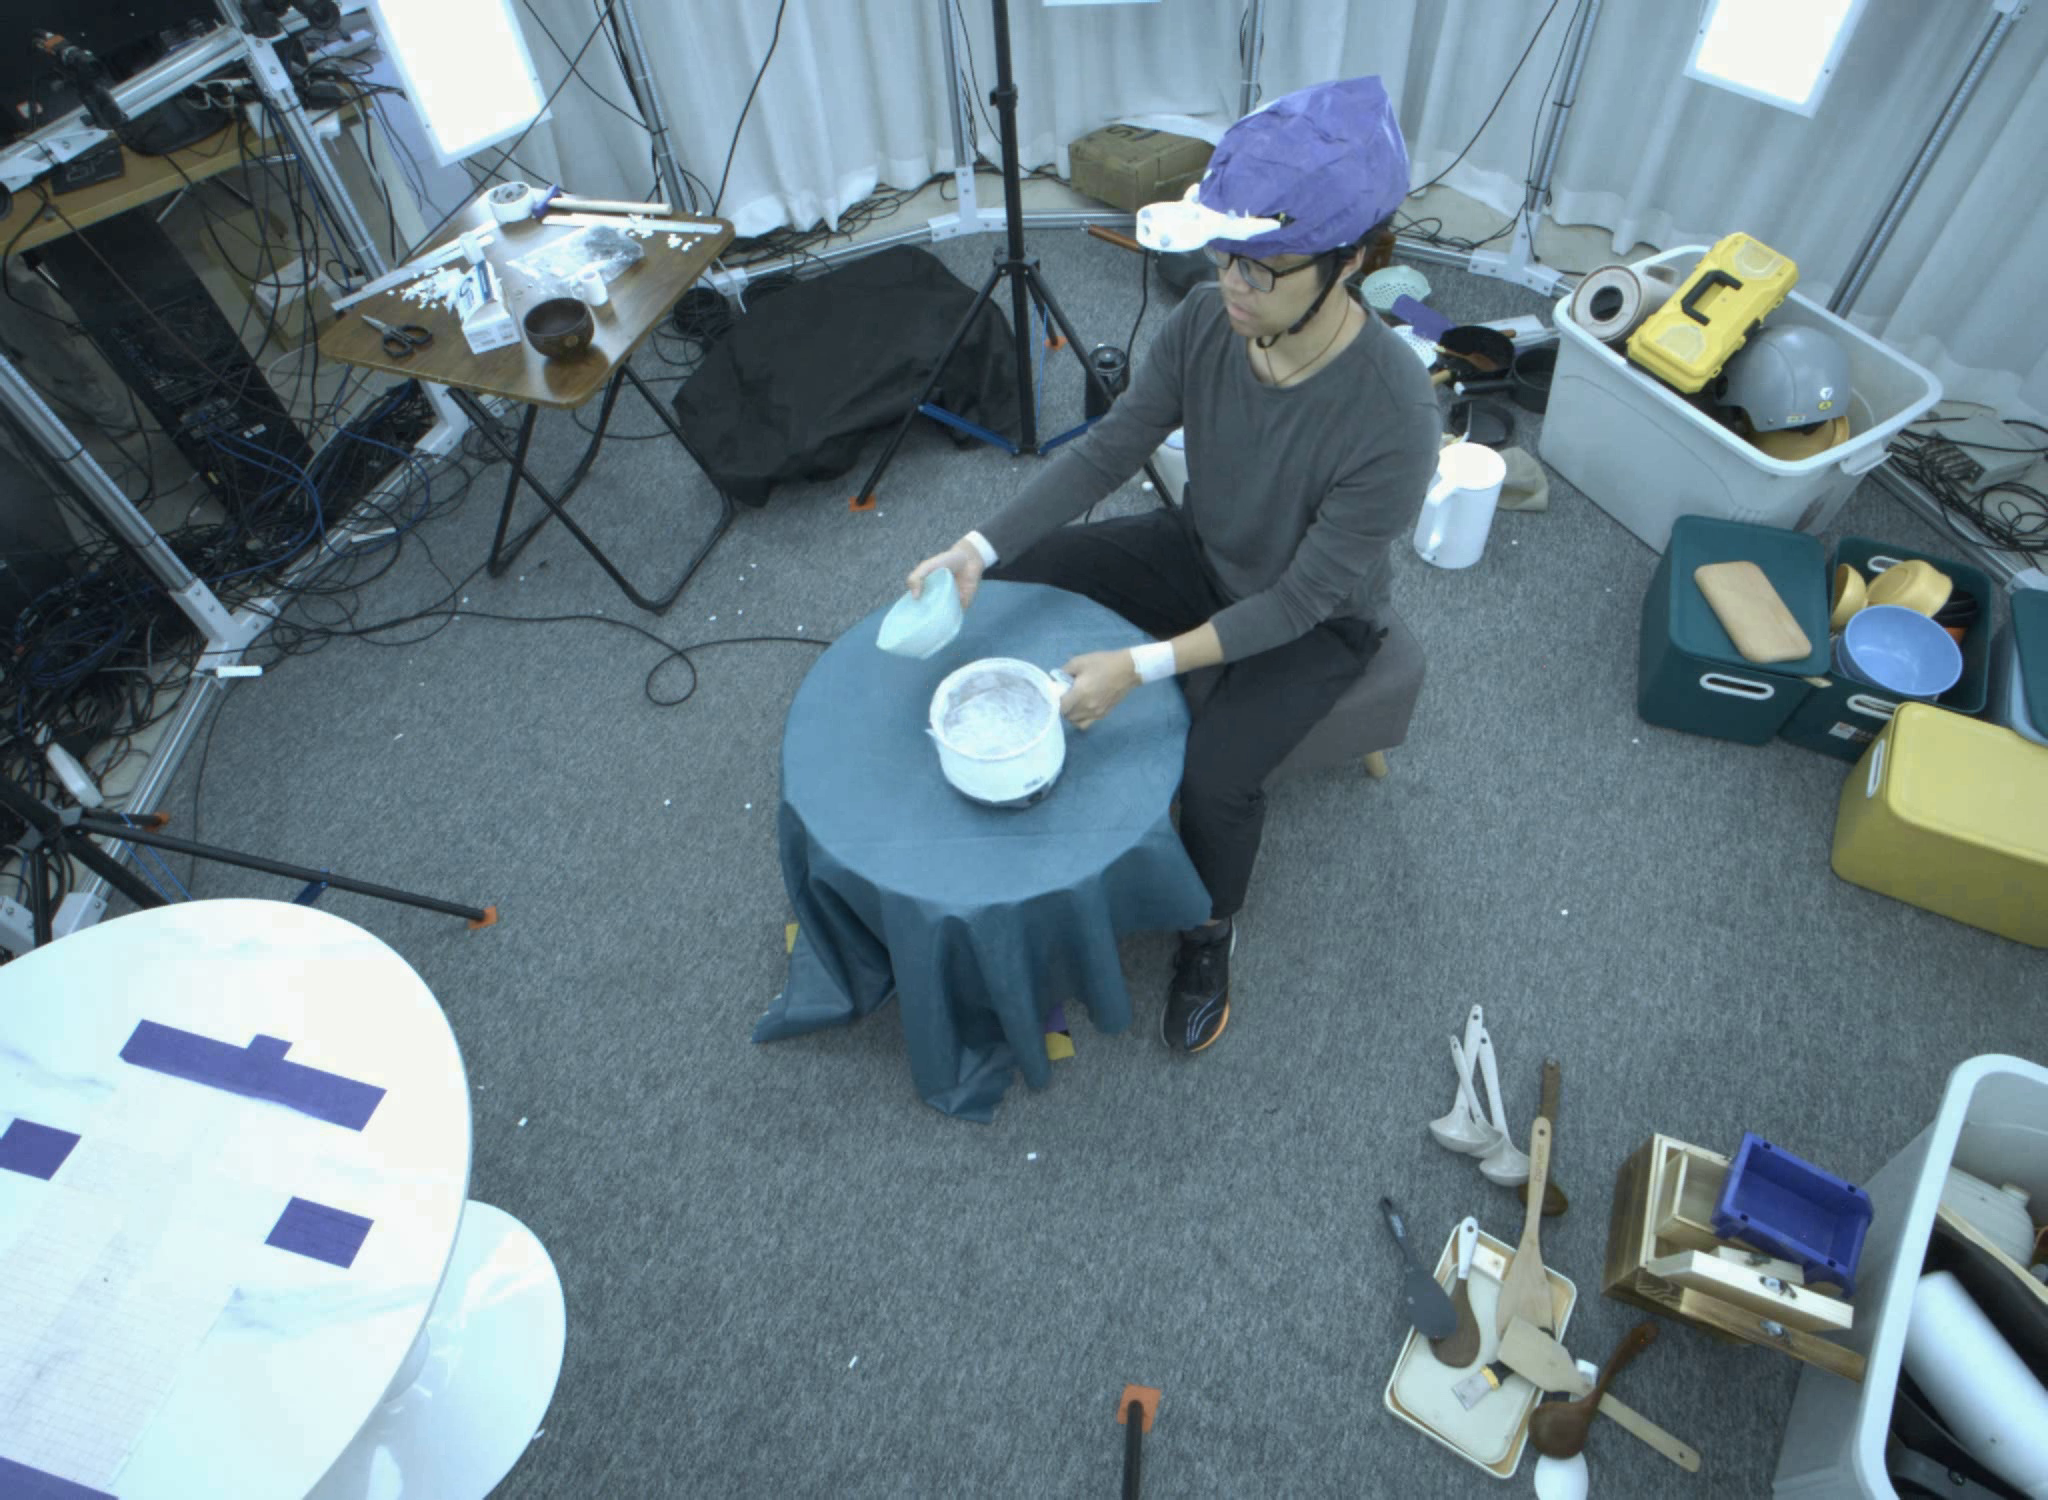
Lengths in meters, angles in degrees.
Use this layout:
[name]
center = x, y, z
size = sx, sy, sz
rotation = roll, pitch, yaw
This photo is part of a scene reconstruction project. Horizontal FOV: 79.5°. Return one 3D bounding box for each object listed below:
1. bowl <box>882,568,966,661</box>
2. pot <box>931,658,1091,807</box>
[bowl]
center = -0.133, -0.182, 1.738
size = 0.150, 0.060, 0.150
rotation = -30, 34, 25
[pot]
center = -0.011, -0.034, 1.731
size = 0.235, 0.138, 0.175
rotation = -30, 58, -17
